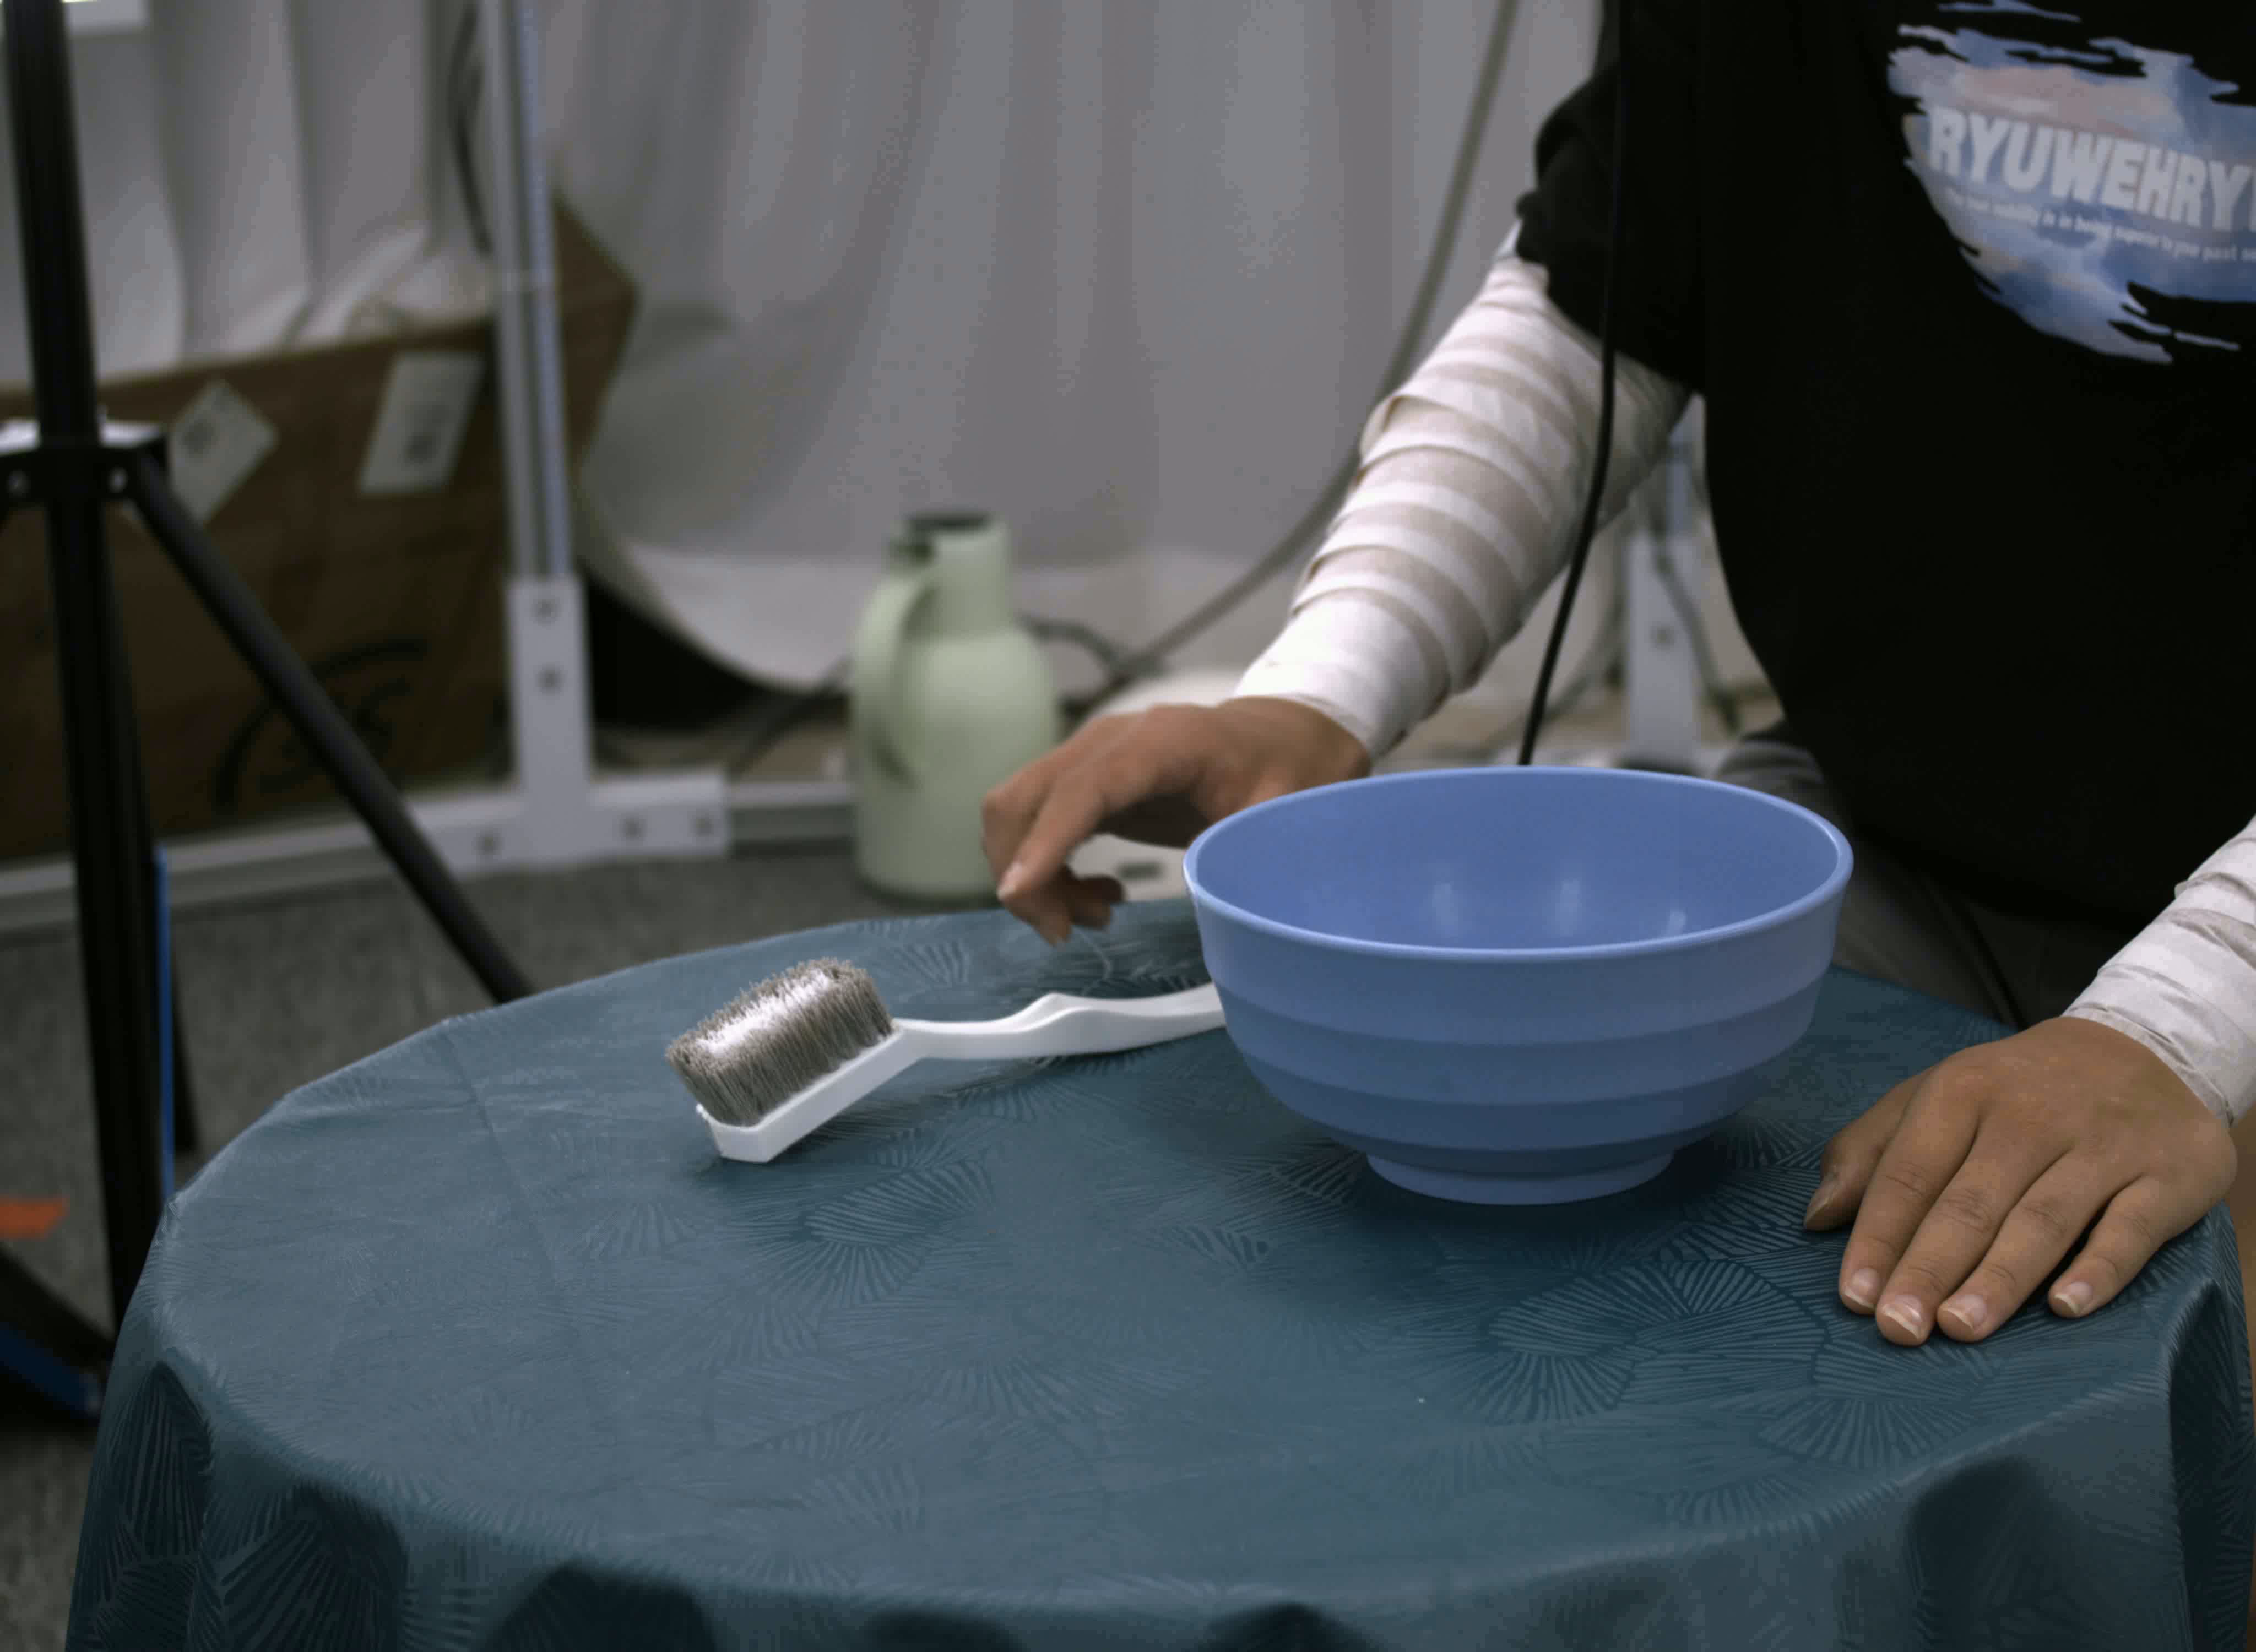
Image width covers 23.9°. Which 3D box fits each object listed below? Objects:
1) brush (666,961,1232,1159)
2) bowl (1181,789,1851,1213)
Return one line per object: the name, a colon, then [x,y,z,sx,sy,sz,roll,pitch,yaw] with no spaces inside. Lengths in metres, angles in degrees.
brush: [-0.035,0.055,1.661,0.238,0.050,0.035,-13,16,-33]
bowl: [0.115,0.056,1.564,0.195,0.095,0.197,-3,13,-1]
